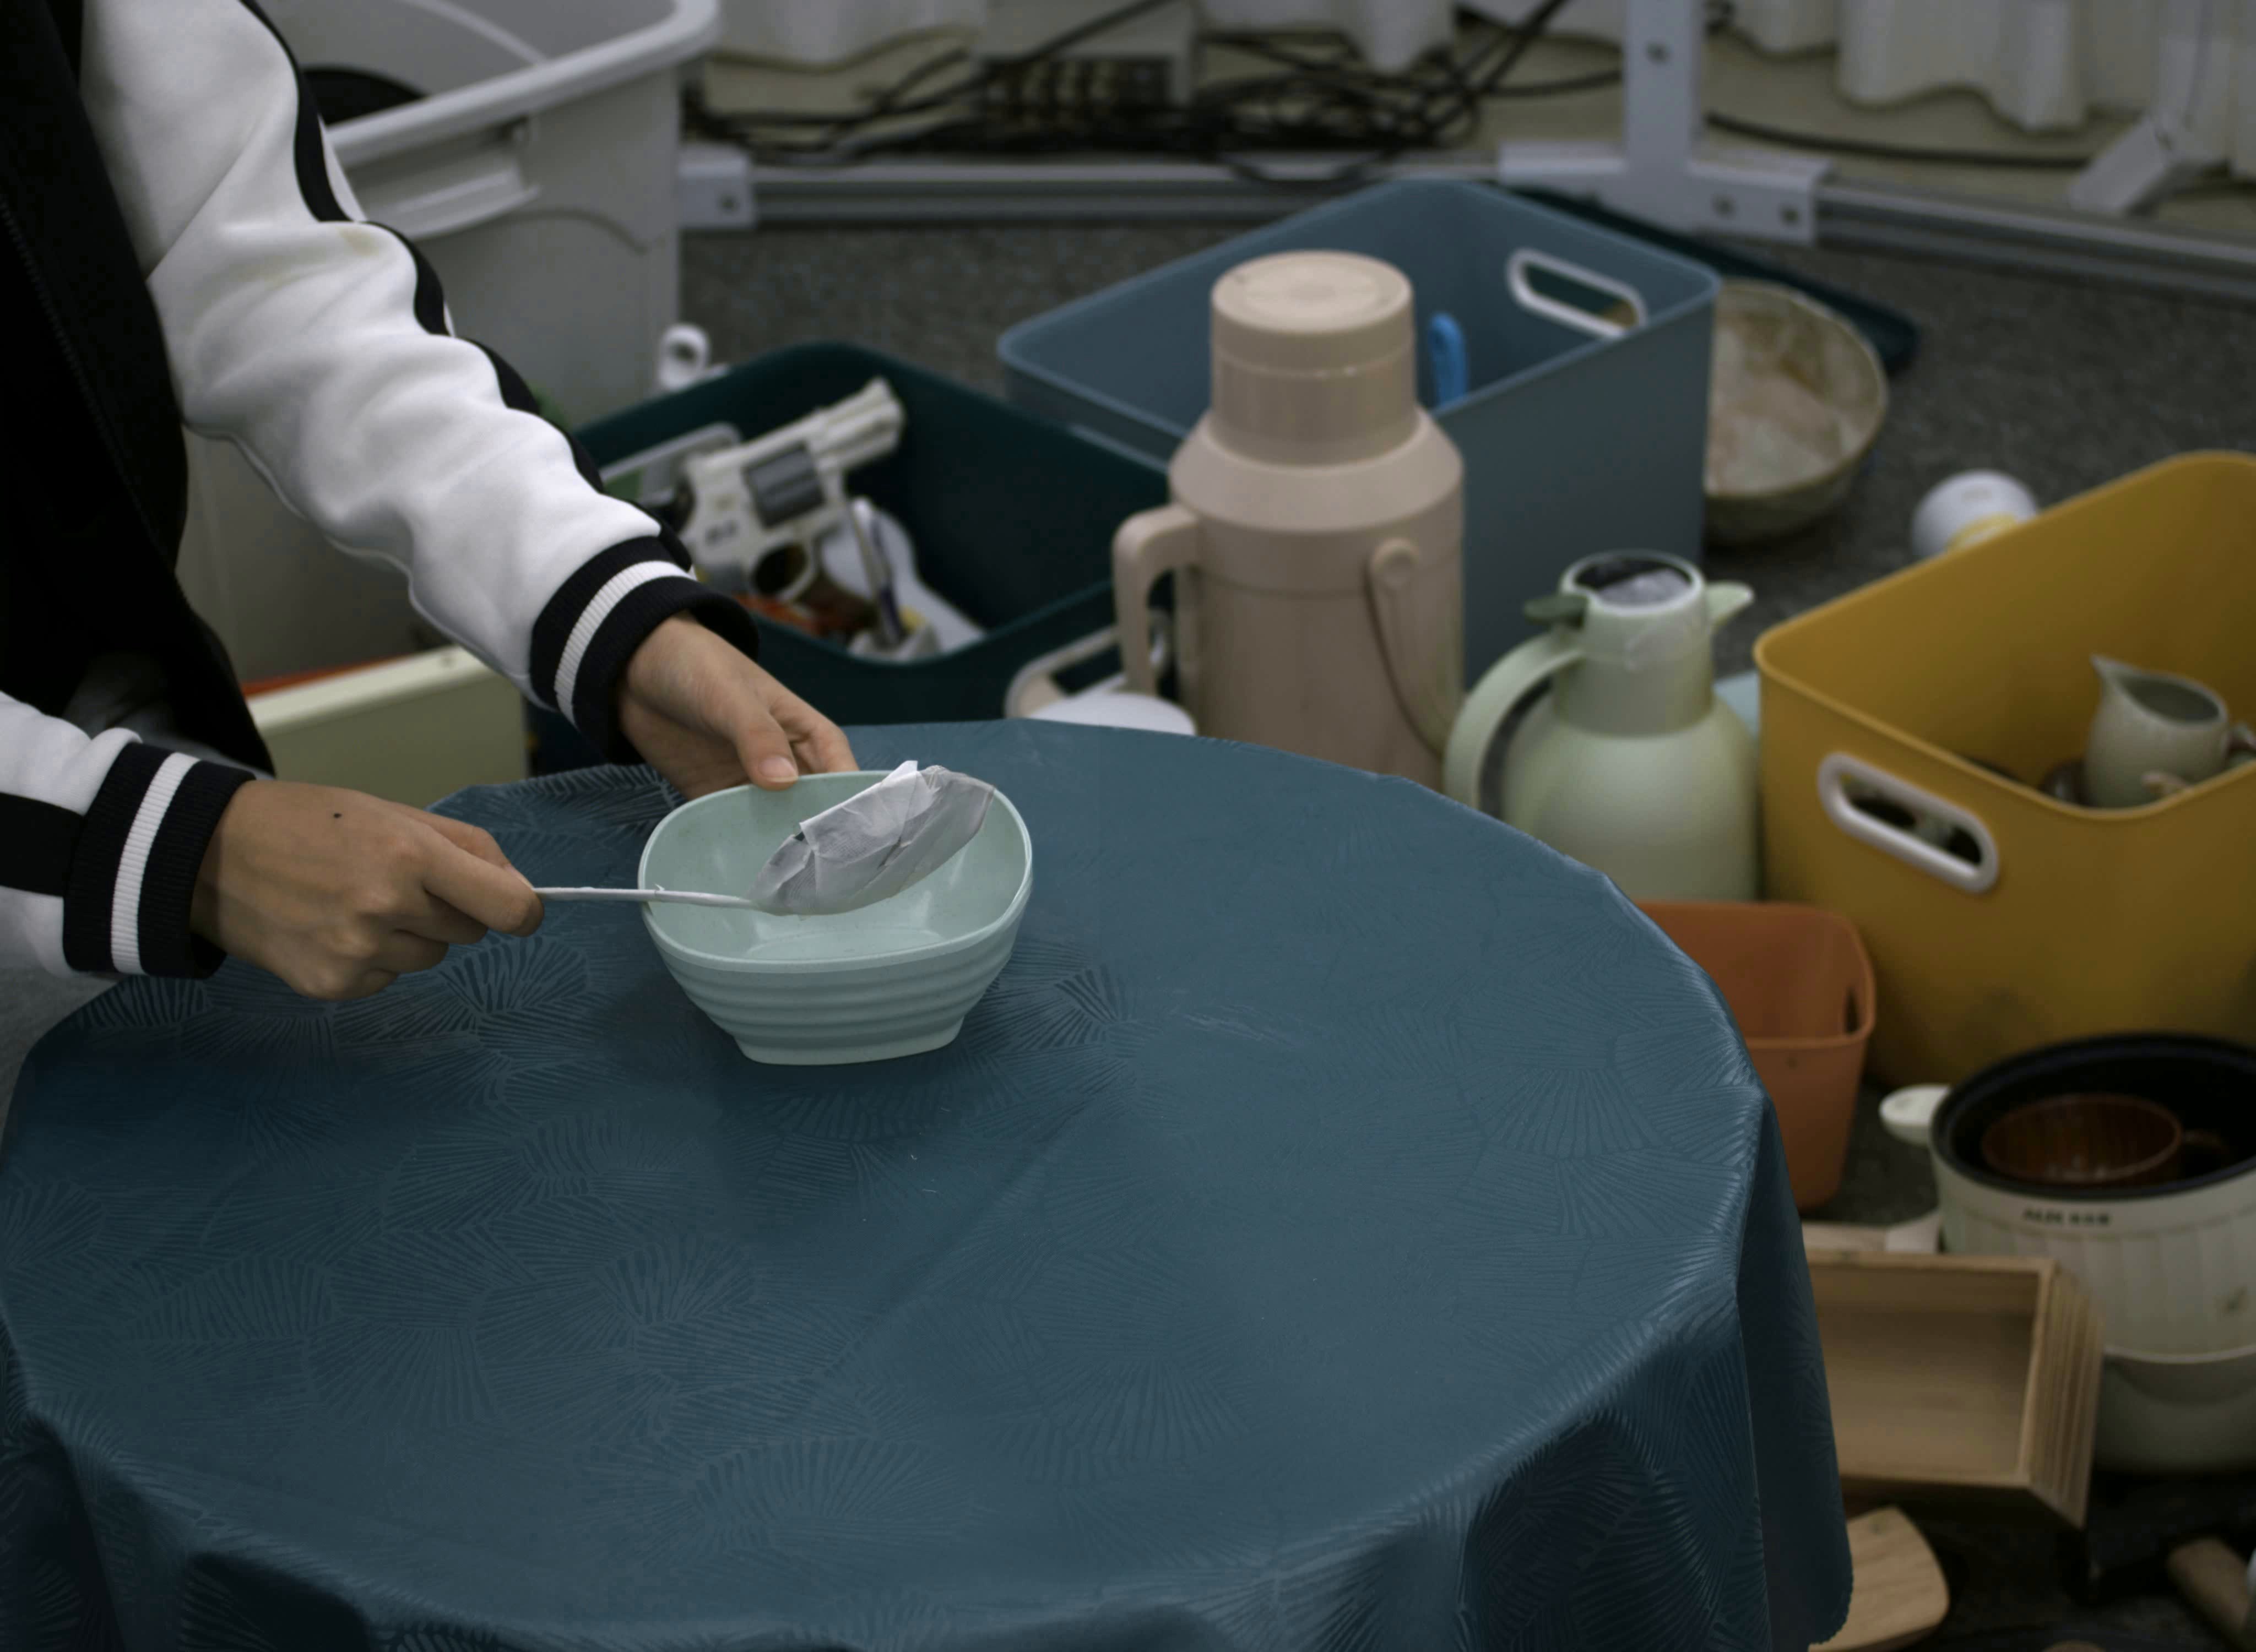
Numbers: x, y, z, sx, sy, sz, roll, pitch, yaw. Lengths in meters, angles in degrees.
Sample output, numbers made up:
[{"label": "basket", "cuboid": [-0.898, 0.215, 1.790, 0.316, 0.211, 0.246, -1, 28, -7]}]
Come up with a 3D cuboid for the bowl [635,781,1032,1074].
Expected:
[{"label": "bowl", "cuboid": [-0.101, 0.041, 1.971, 0.151, 0.058, 0.154, -2, 27, 1]}]

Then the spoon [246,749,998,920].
[{"label": "spoon", "cuboid": [-0.178, 0.001, 1.951, 0.275, 0.060, 0.100, 2, -15, 20]}]
